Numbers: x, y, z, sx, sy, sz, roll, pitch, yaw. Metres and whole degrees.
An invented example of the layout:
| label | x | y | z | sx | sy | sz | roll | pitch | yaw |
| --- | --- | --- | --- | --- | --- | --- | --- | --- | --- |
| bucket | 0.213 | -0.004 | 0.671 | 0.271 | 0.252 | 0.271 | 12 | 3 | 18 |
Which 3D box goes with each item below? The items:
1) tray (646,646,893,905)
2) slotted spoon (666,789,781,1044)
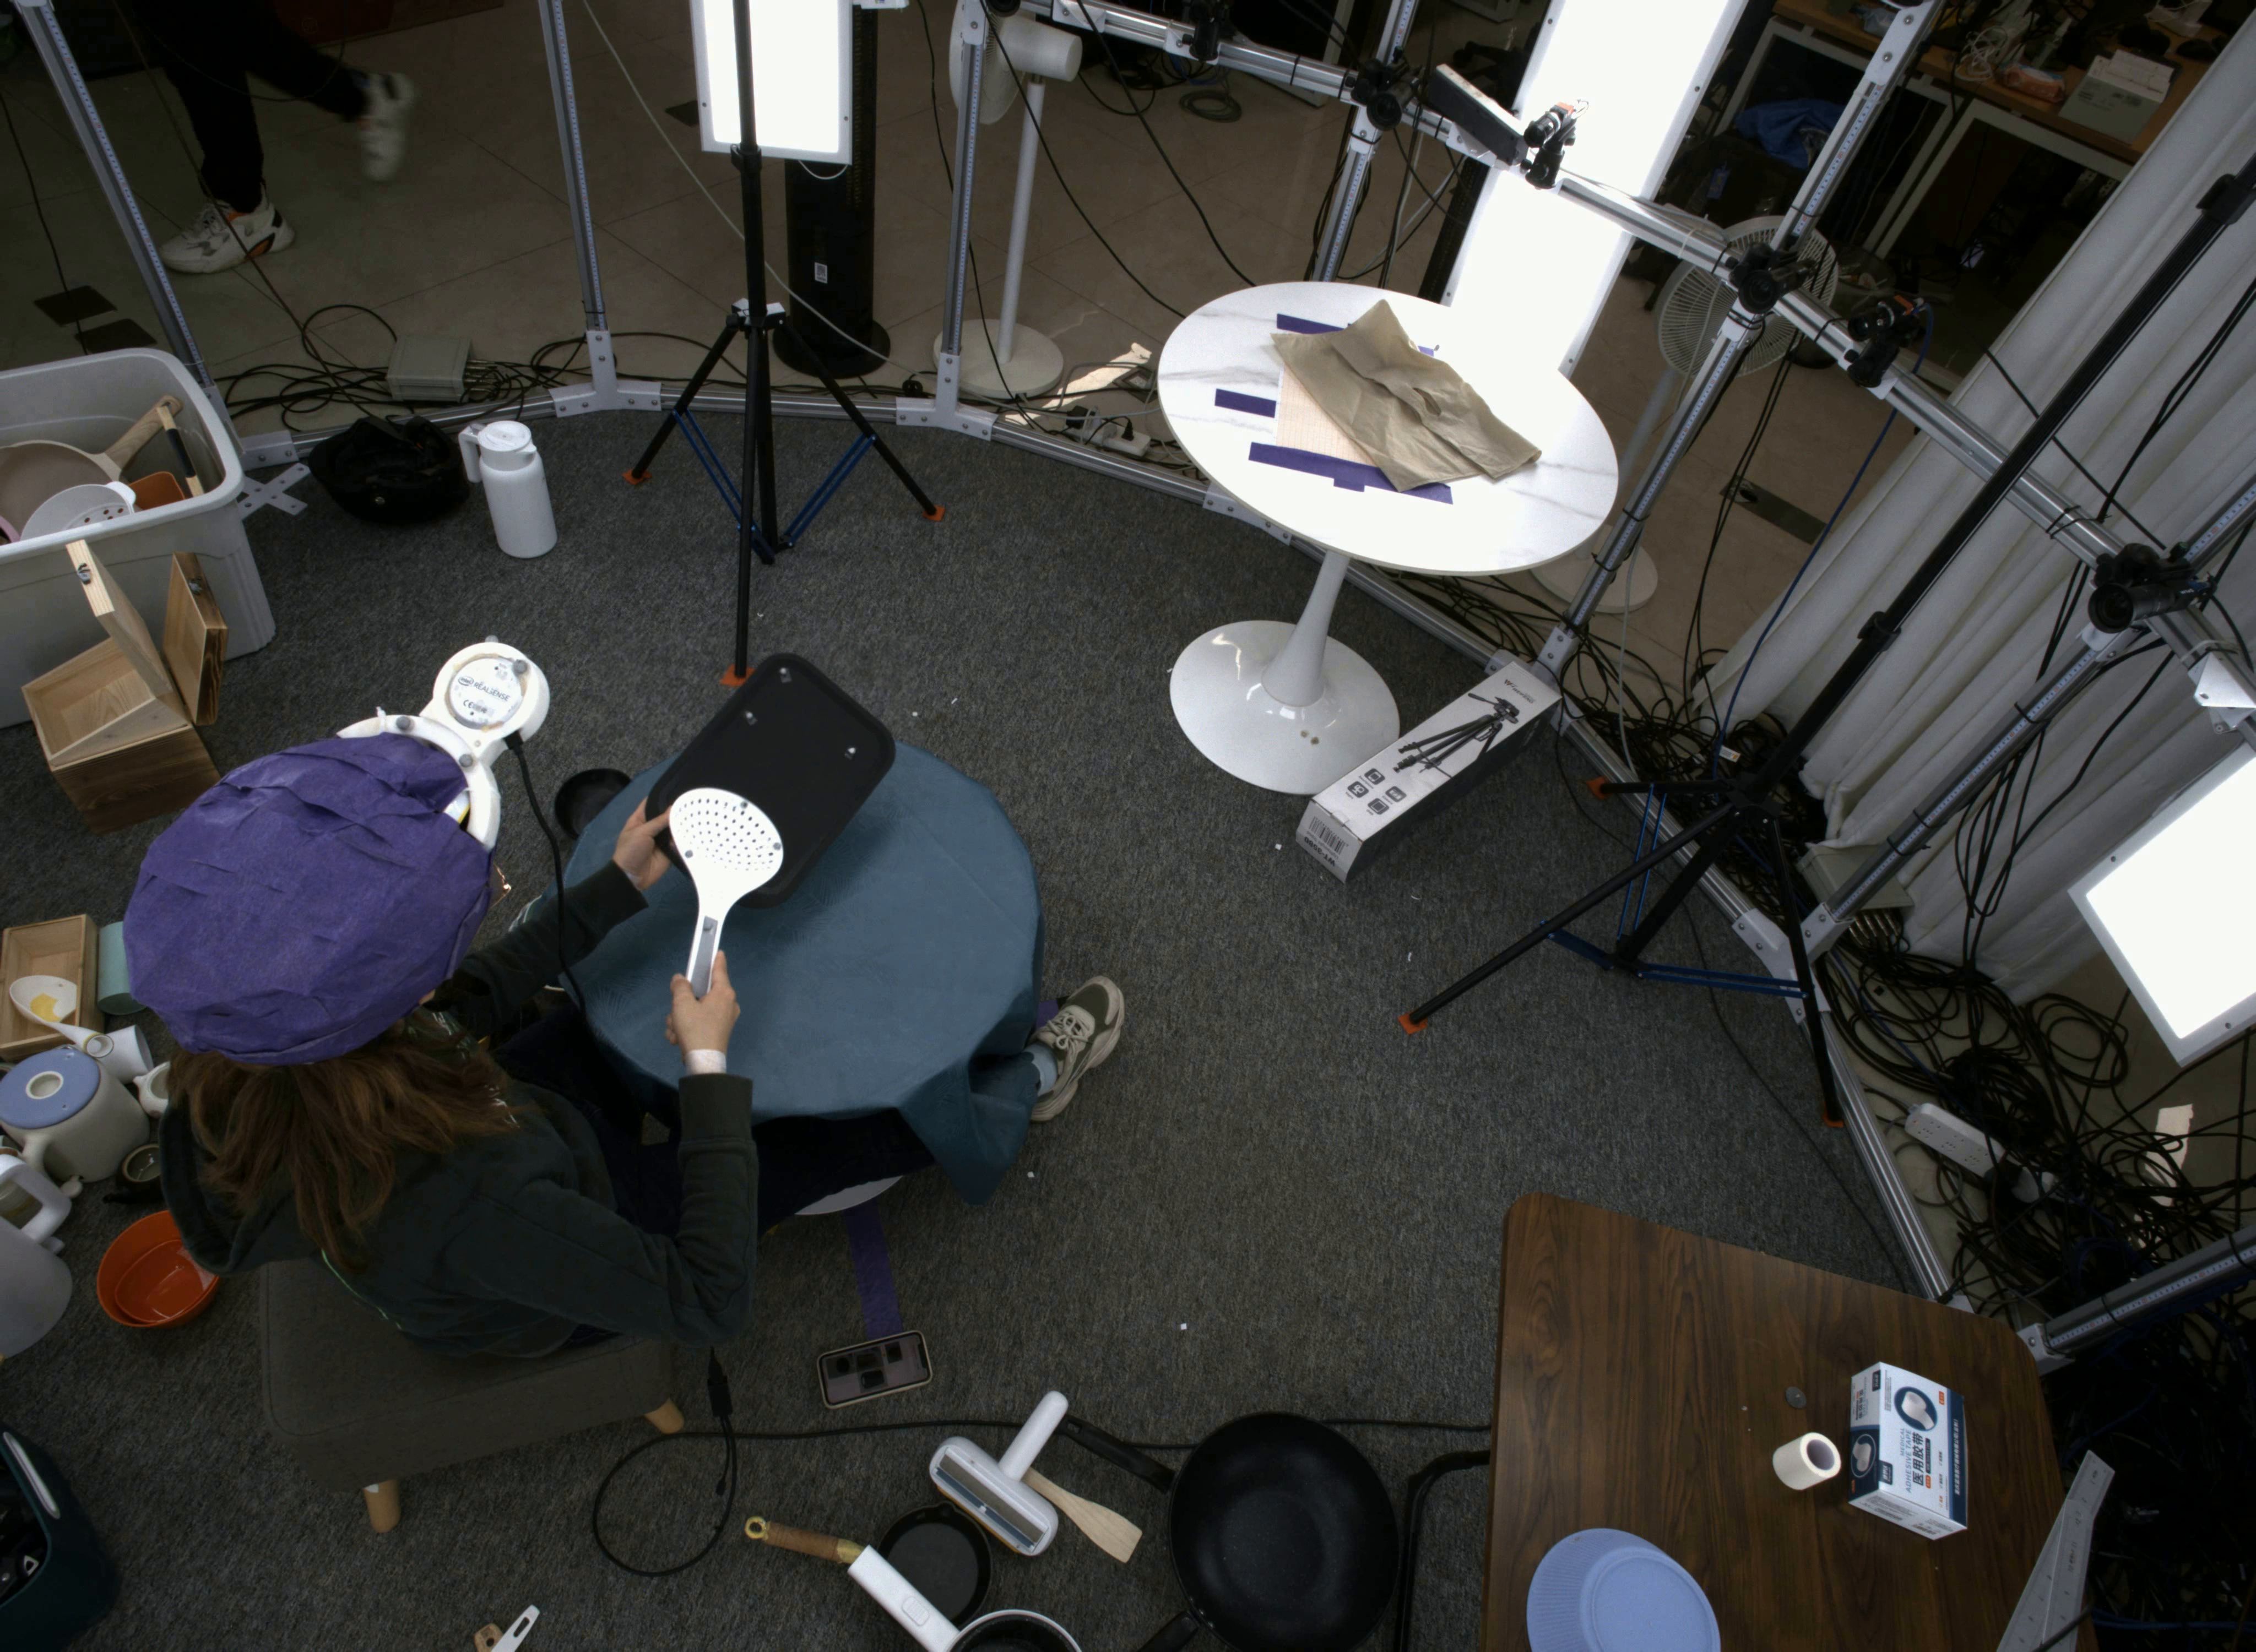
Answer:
| label | x | y | z | sx | sy | sz | roll | pitch | yaw |
| --- | --- | --- | --- | --- | --- | --- | --- | --- | --- |
| tray | -0.442 | -0.061 | 1.604 | 0.215 | 0.009 | 0.324 | 42 | 59 | -17 |
| slotted spoon | -0.448 | 0.087 | 1.378 | 0.139 | 0.046 | 0.340 | 25 | 32 | -28 |
